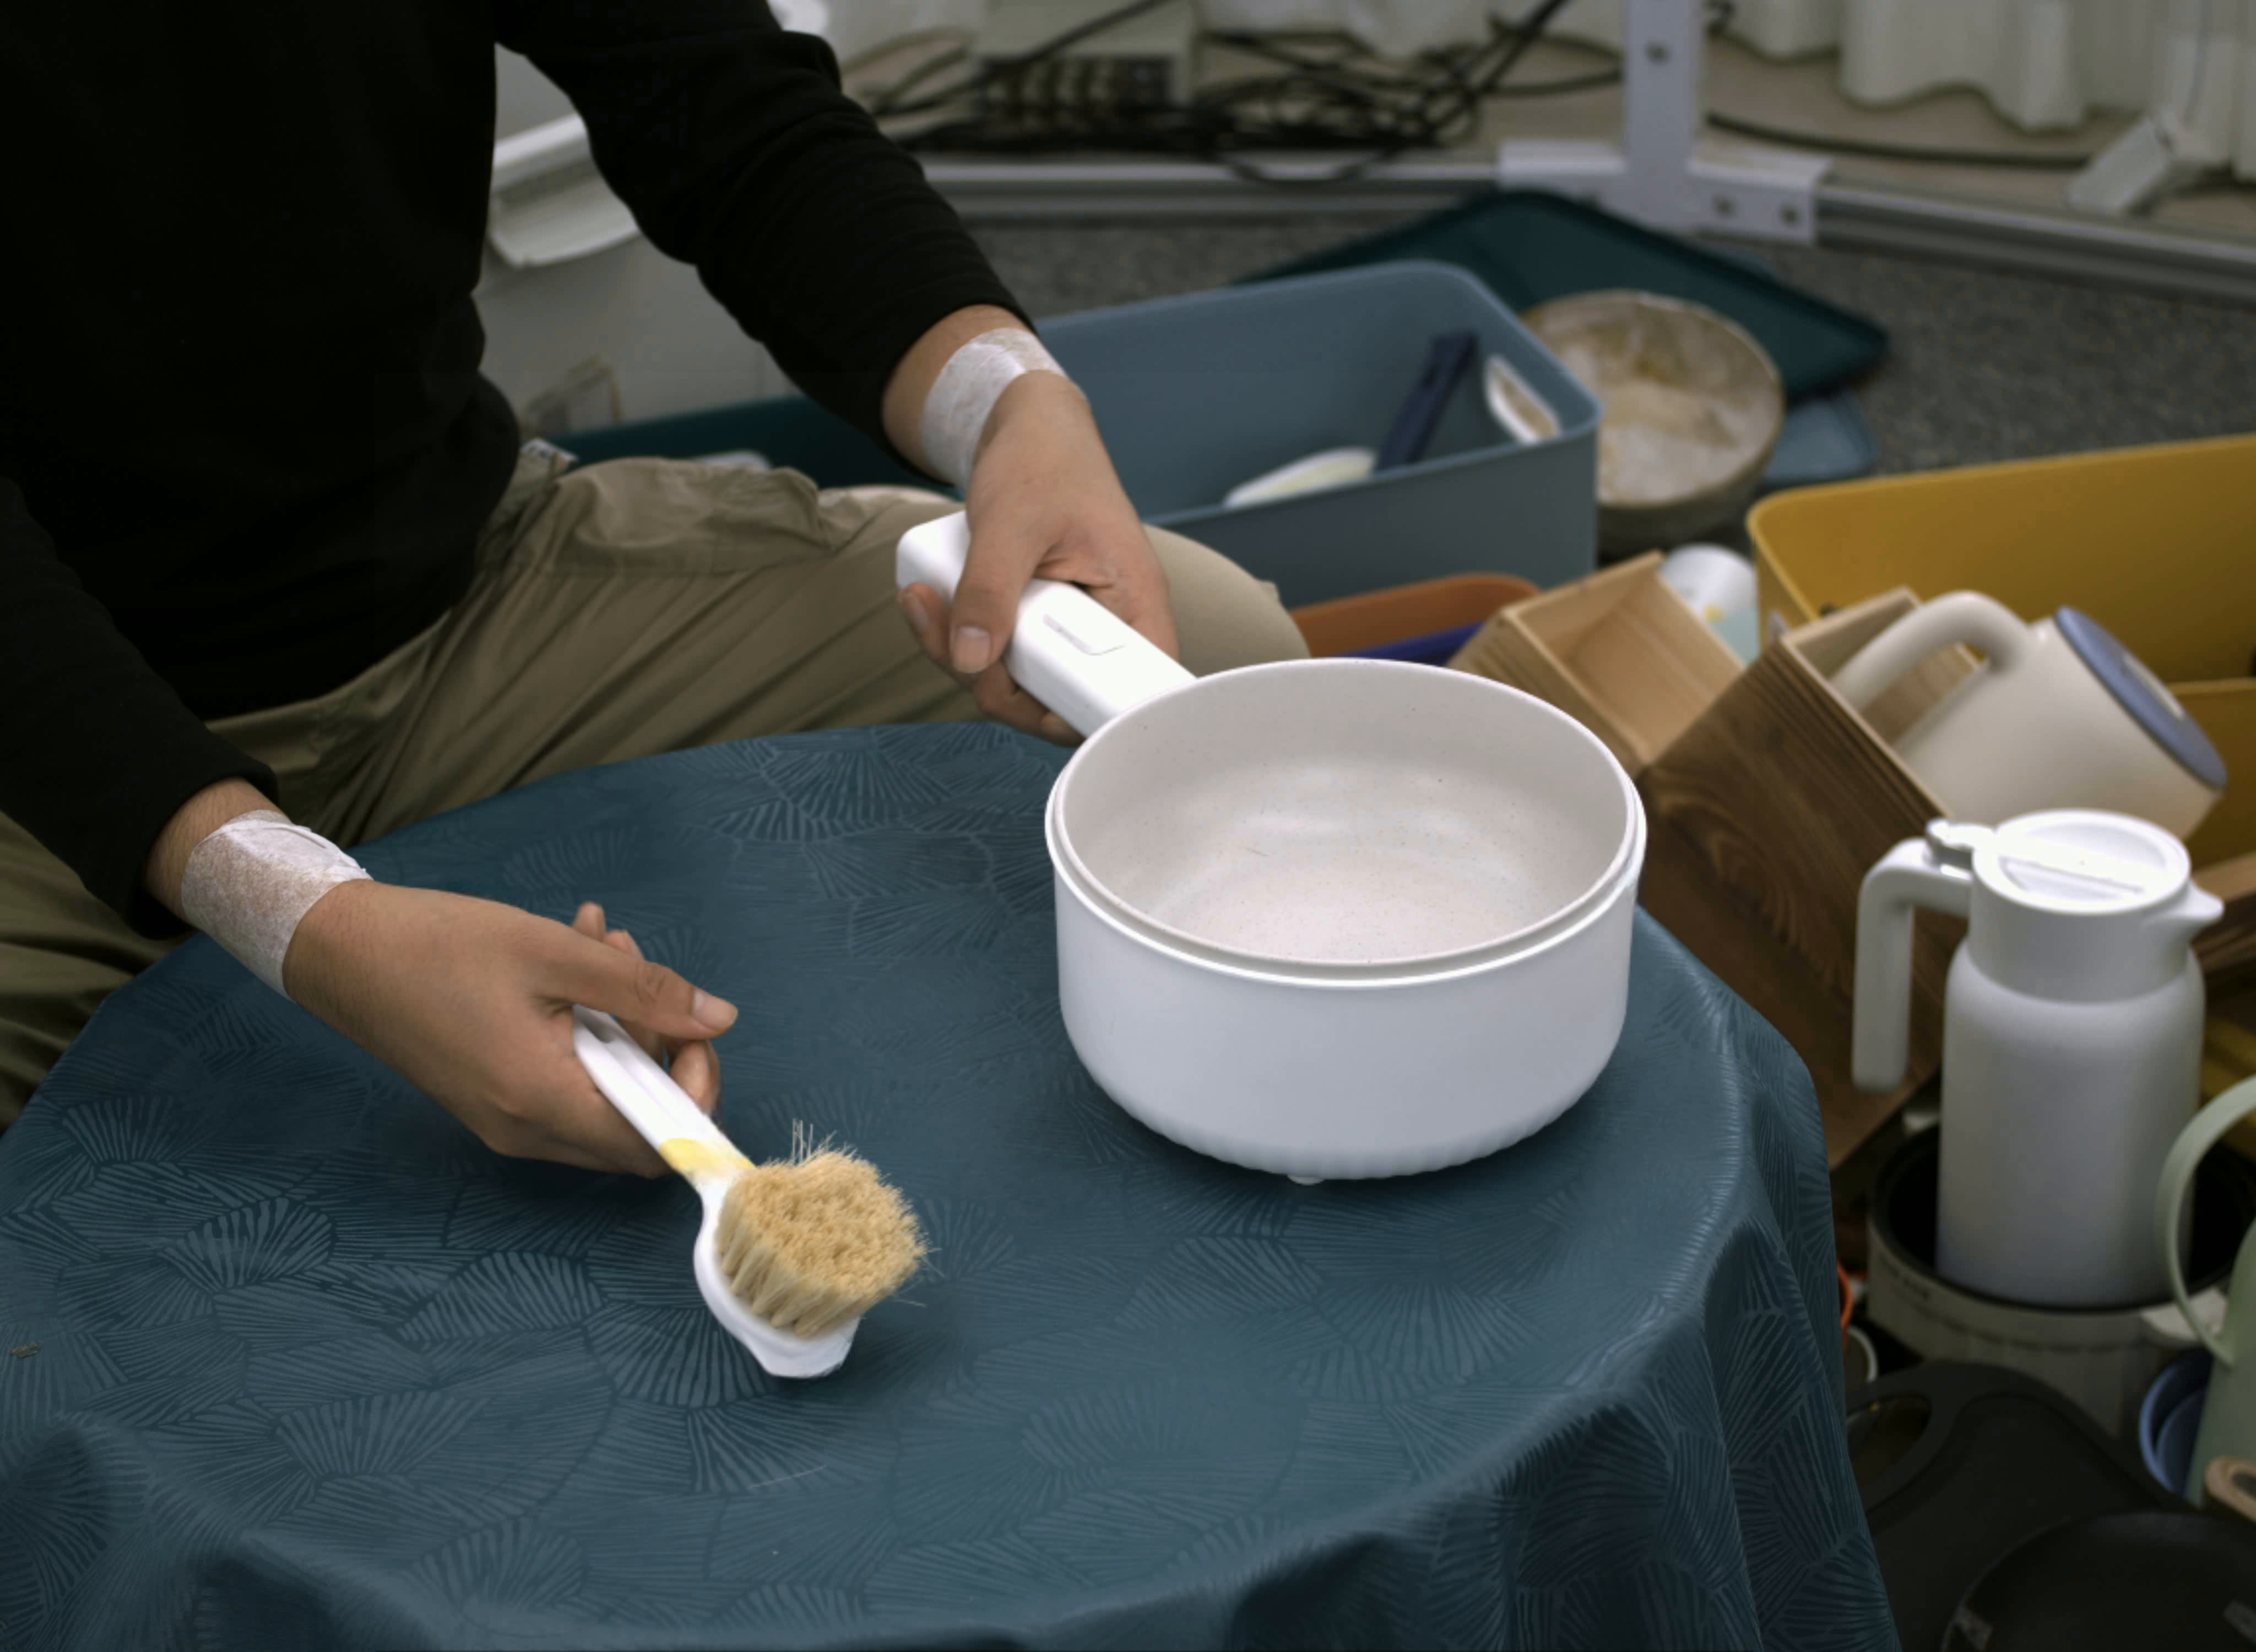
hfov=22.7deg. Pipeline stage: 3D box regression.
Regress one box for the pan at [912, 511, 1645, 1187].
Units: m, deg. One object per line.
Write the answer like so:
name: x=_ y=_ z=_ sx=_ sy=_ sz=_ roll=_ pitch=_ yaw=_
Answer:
pan: x=0.031 y=0.004 z=1.960 sx=0.203 sy=0.101 sz=0.356 roll=-20 pitch=36 yaw=-27

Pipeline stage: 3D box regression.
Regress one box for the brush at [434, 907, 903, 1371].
brush: x=-0.157 y=0.081 z=1.834 sx=0.068 sy=0.055 sz=0.269 roll=13 pitch=24 yaw=-40
